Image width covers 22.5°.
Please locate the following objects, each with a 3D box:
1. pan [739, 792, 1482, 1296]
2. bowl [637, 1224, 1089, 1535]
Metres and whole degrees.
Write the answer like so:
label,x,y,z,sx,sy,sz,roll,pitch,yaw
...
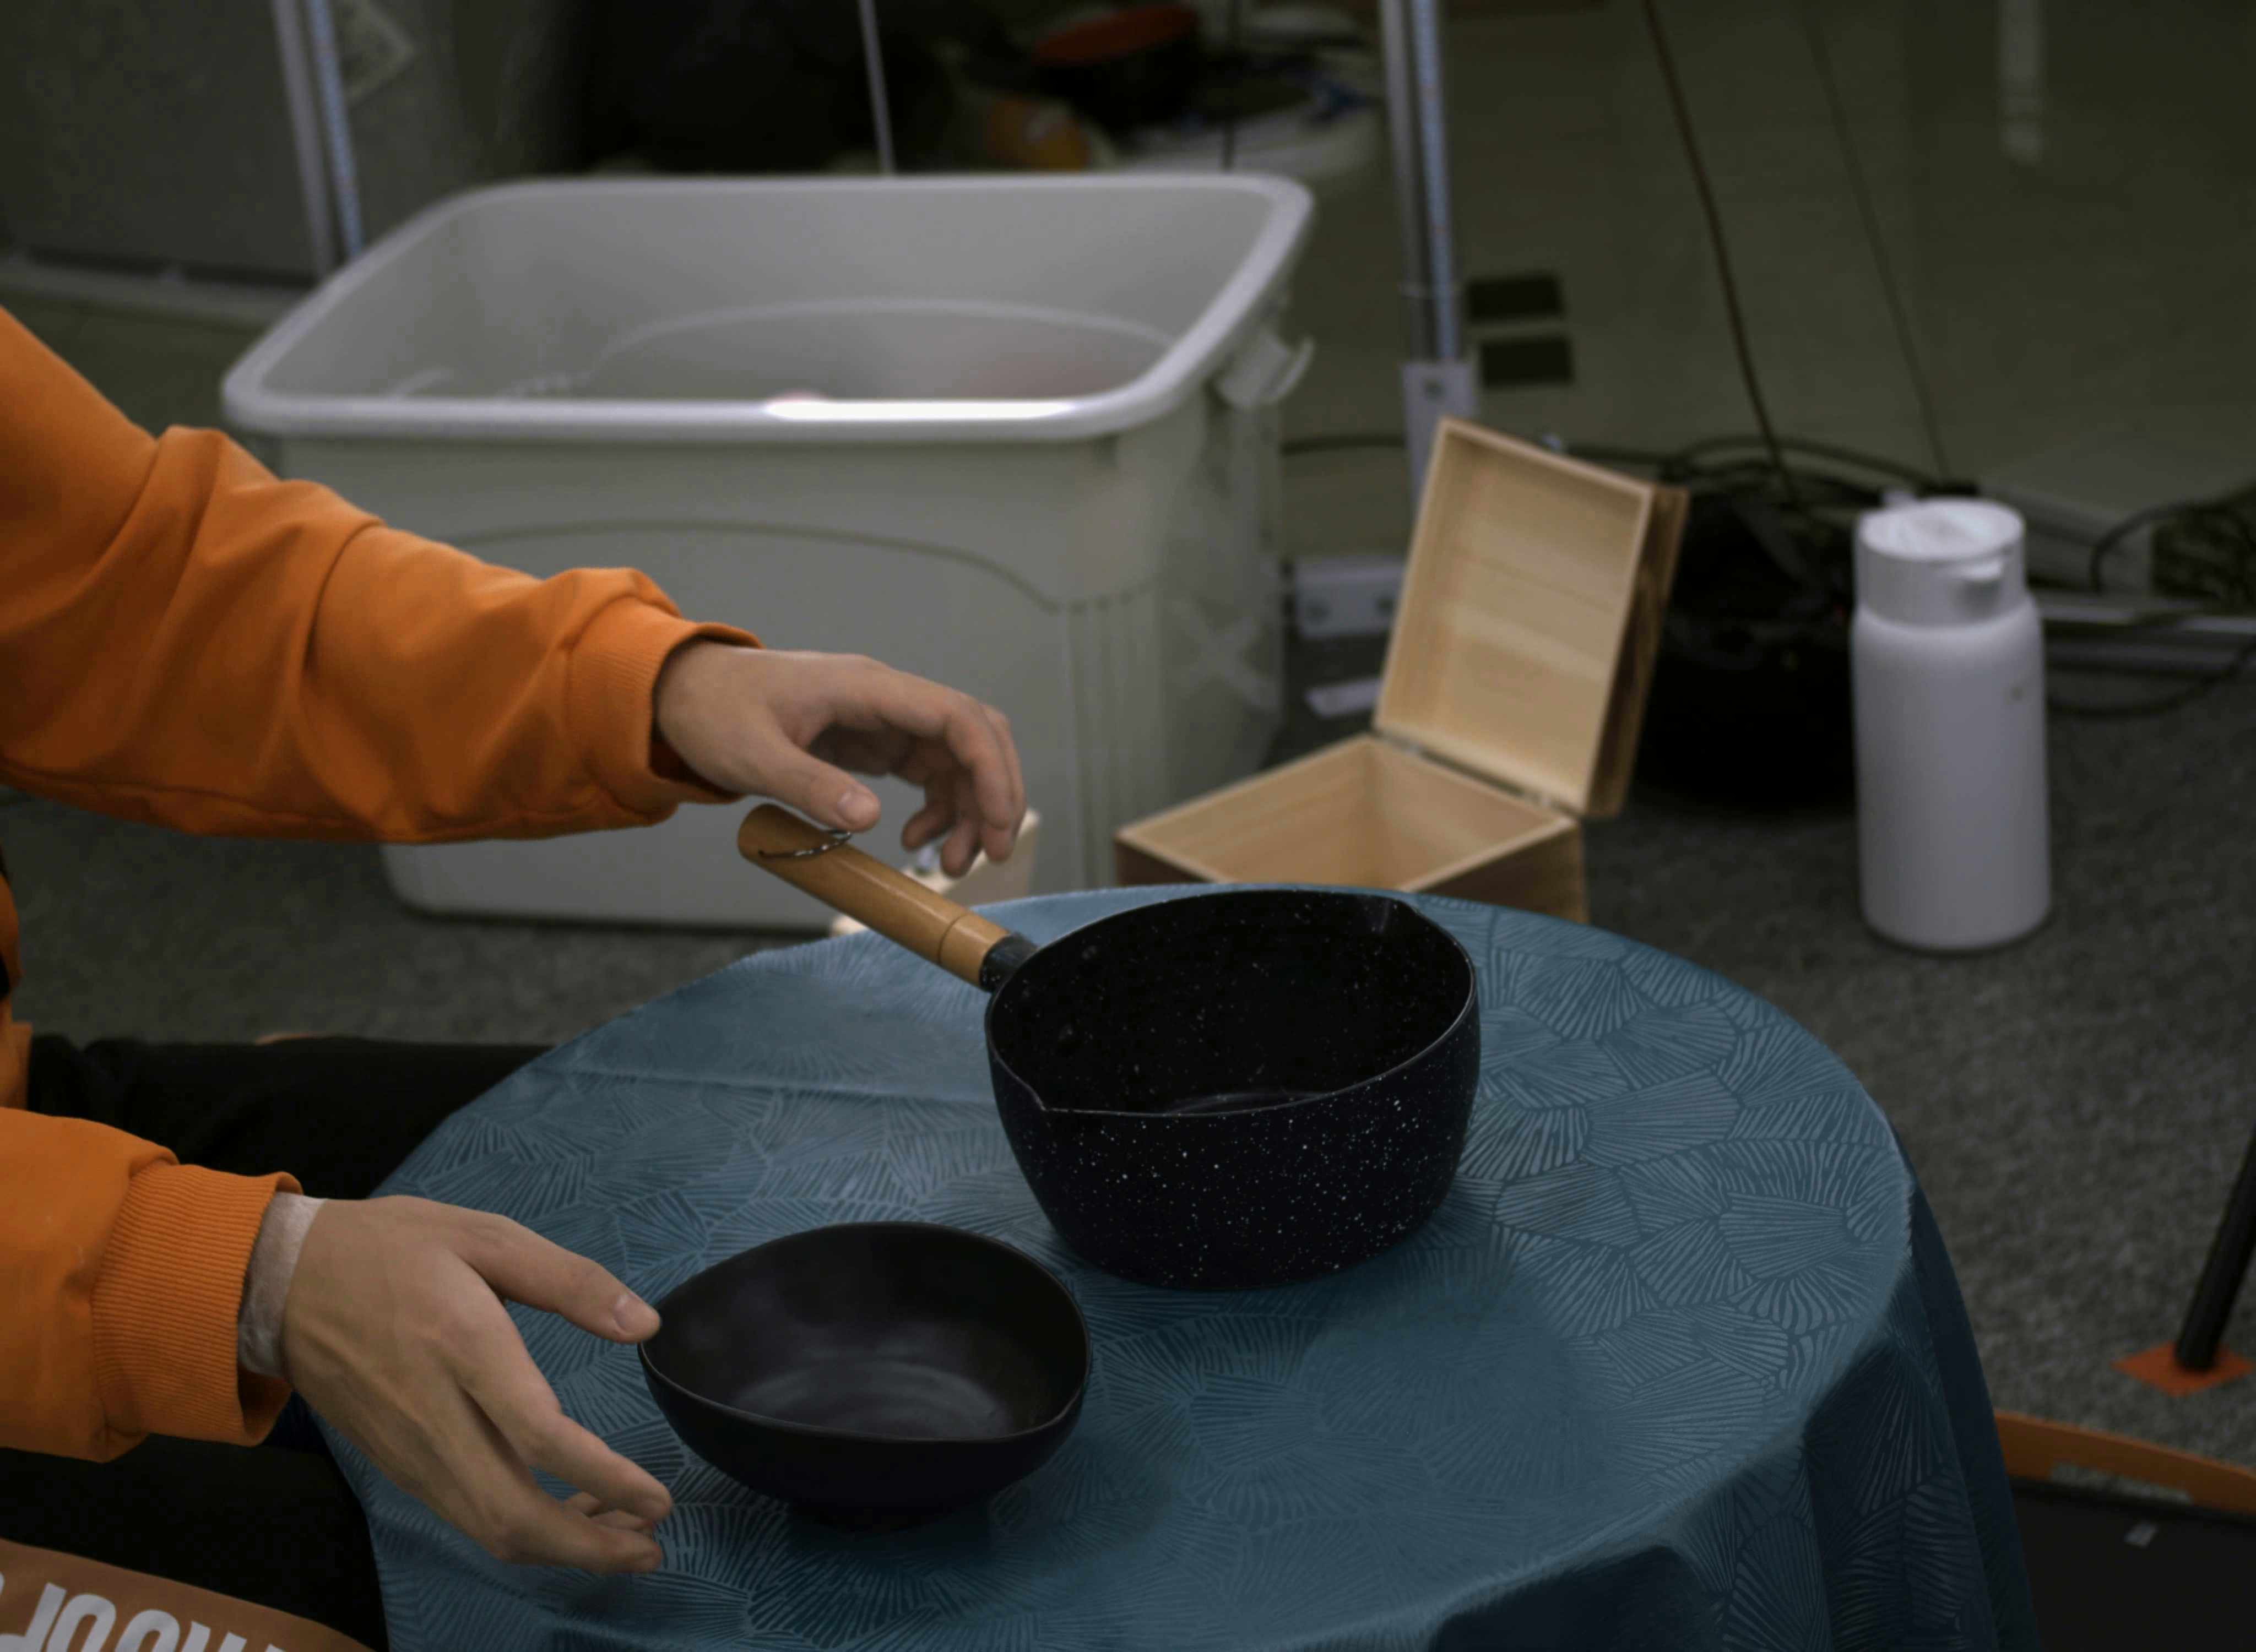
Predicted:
label,x,y,z,sx,sy,sz,roll,pitch,yaw
pan,-0.019,0.074,2.160,0.340,0.110,0.205,17,35,37
bowl,-0.088,0.199,1.965,0.169,0.068,0.136,13,32,31
